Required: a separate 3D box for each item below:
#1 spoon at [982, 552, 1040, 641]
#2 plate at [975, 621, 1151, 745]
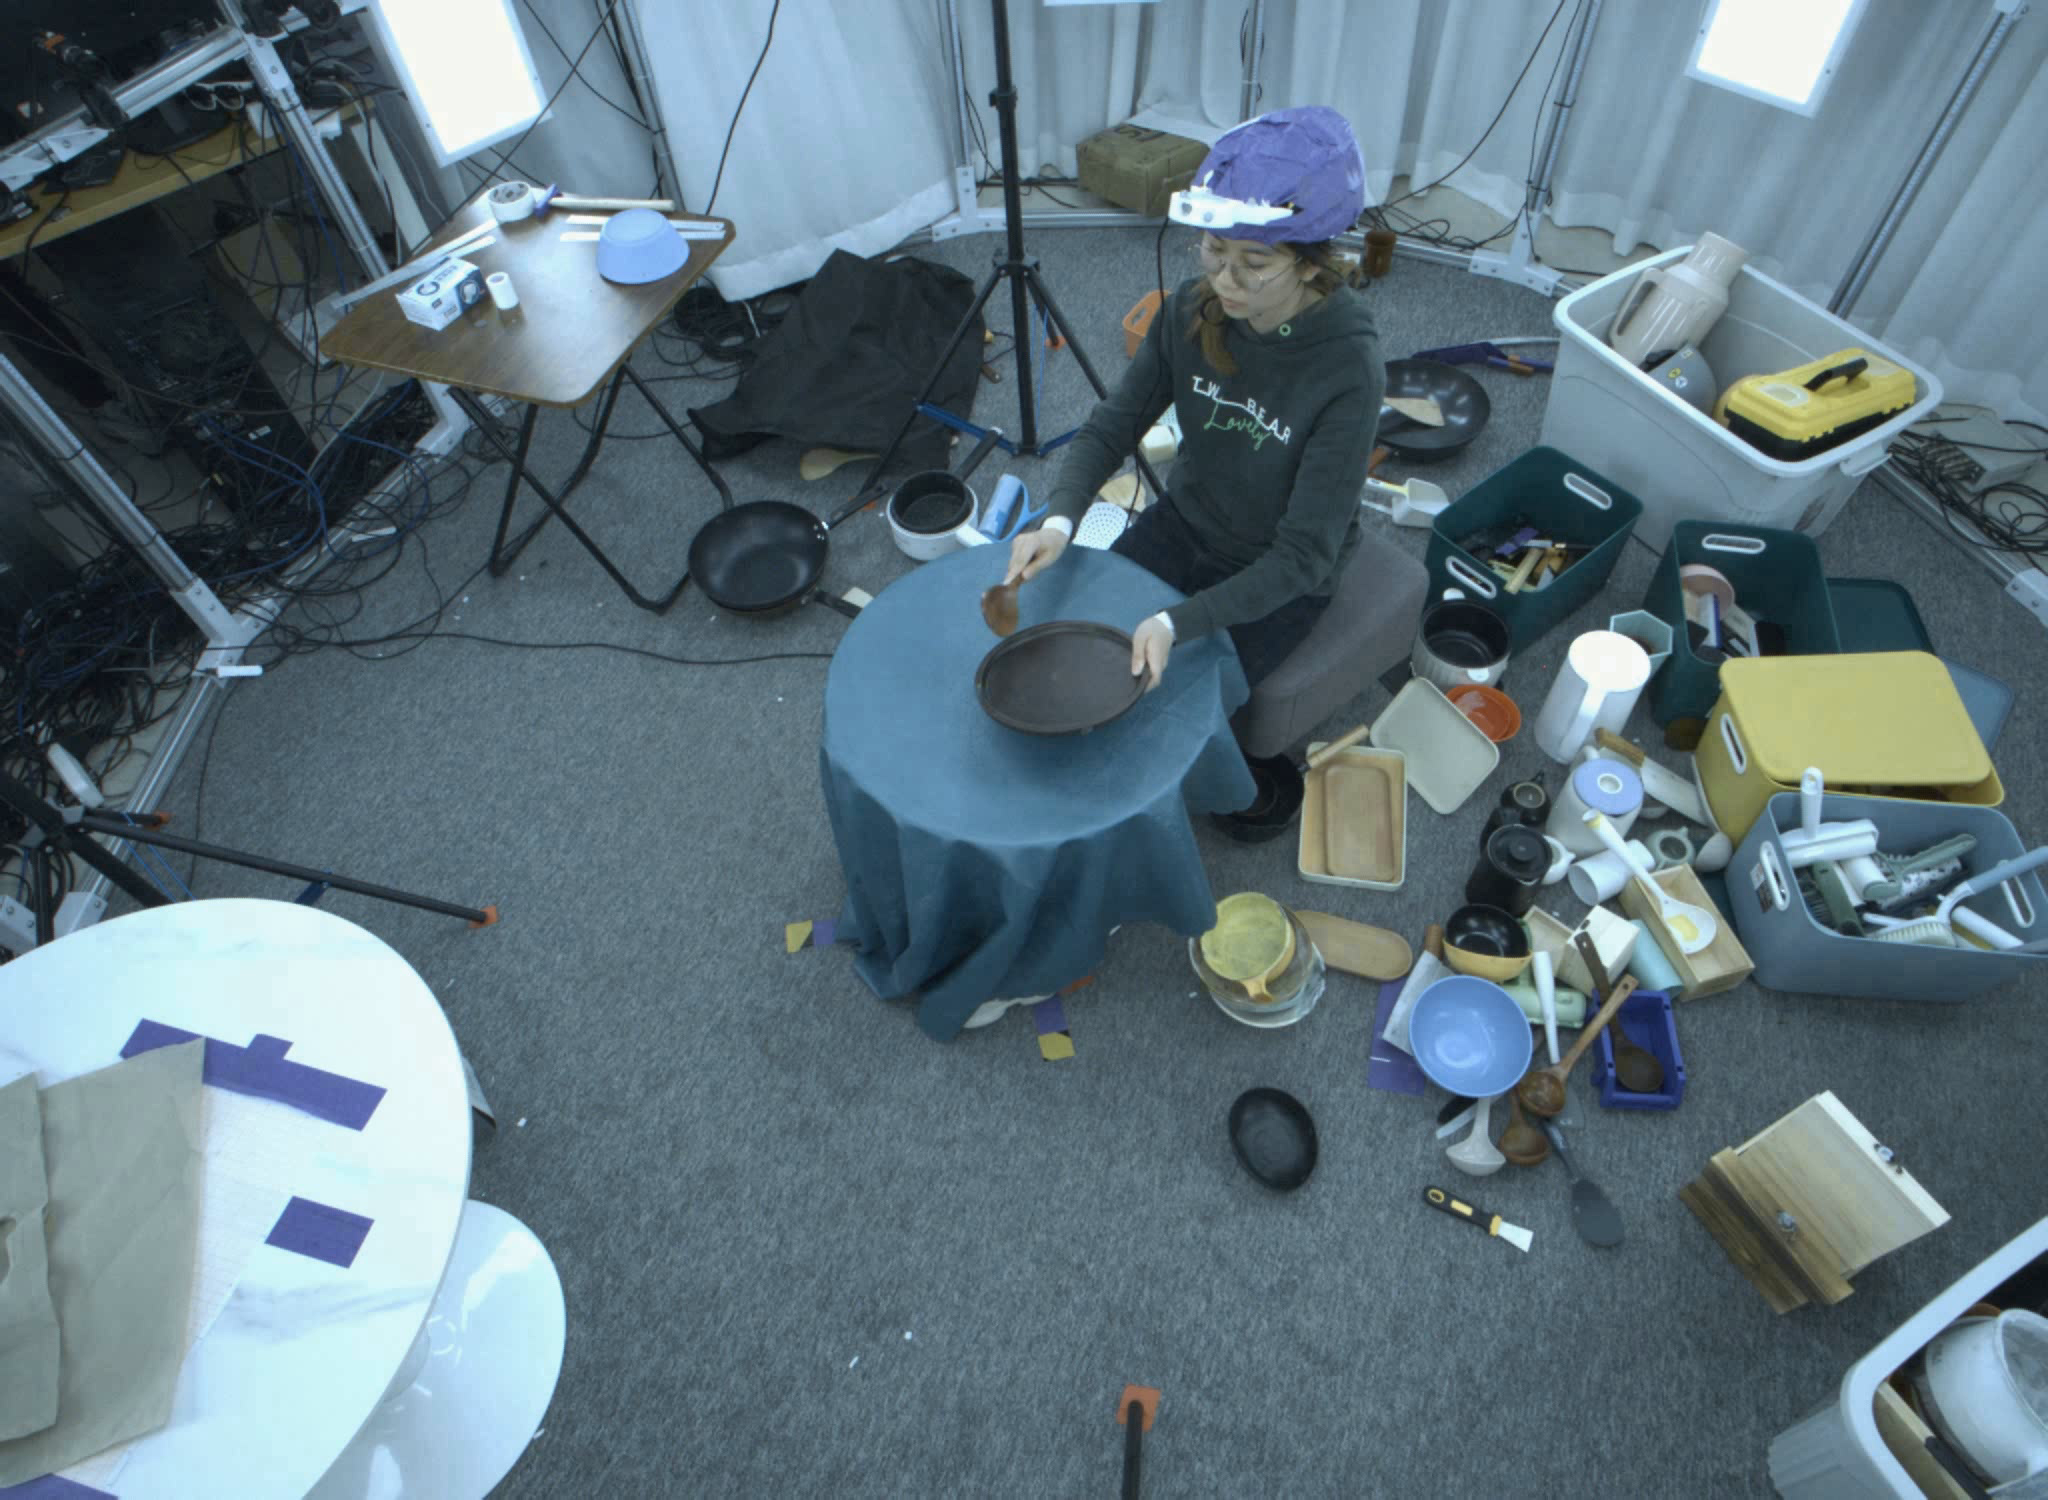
[{"bbox_3d":[-0.016,-0.233,1.819,0.017,0.076,0.215,-21,28,35],"label":"spoon"},{"bbox_3d":[0.057,-0.096,1.764,0.254,0.029,0.252,-4,44,5],"label":"plate"}]
